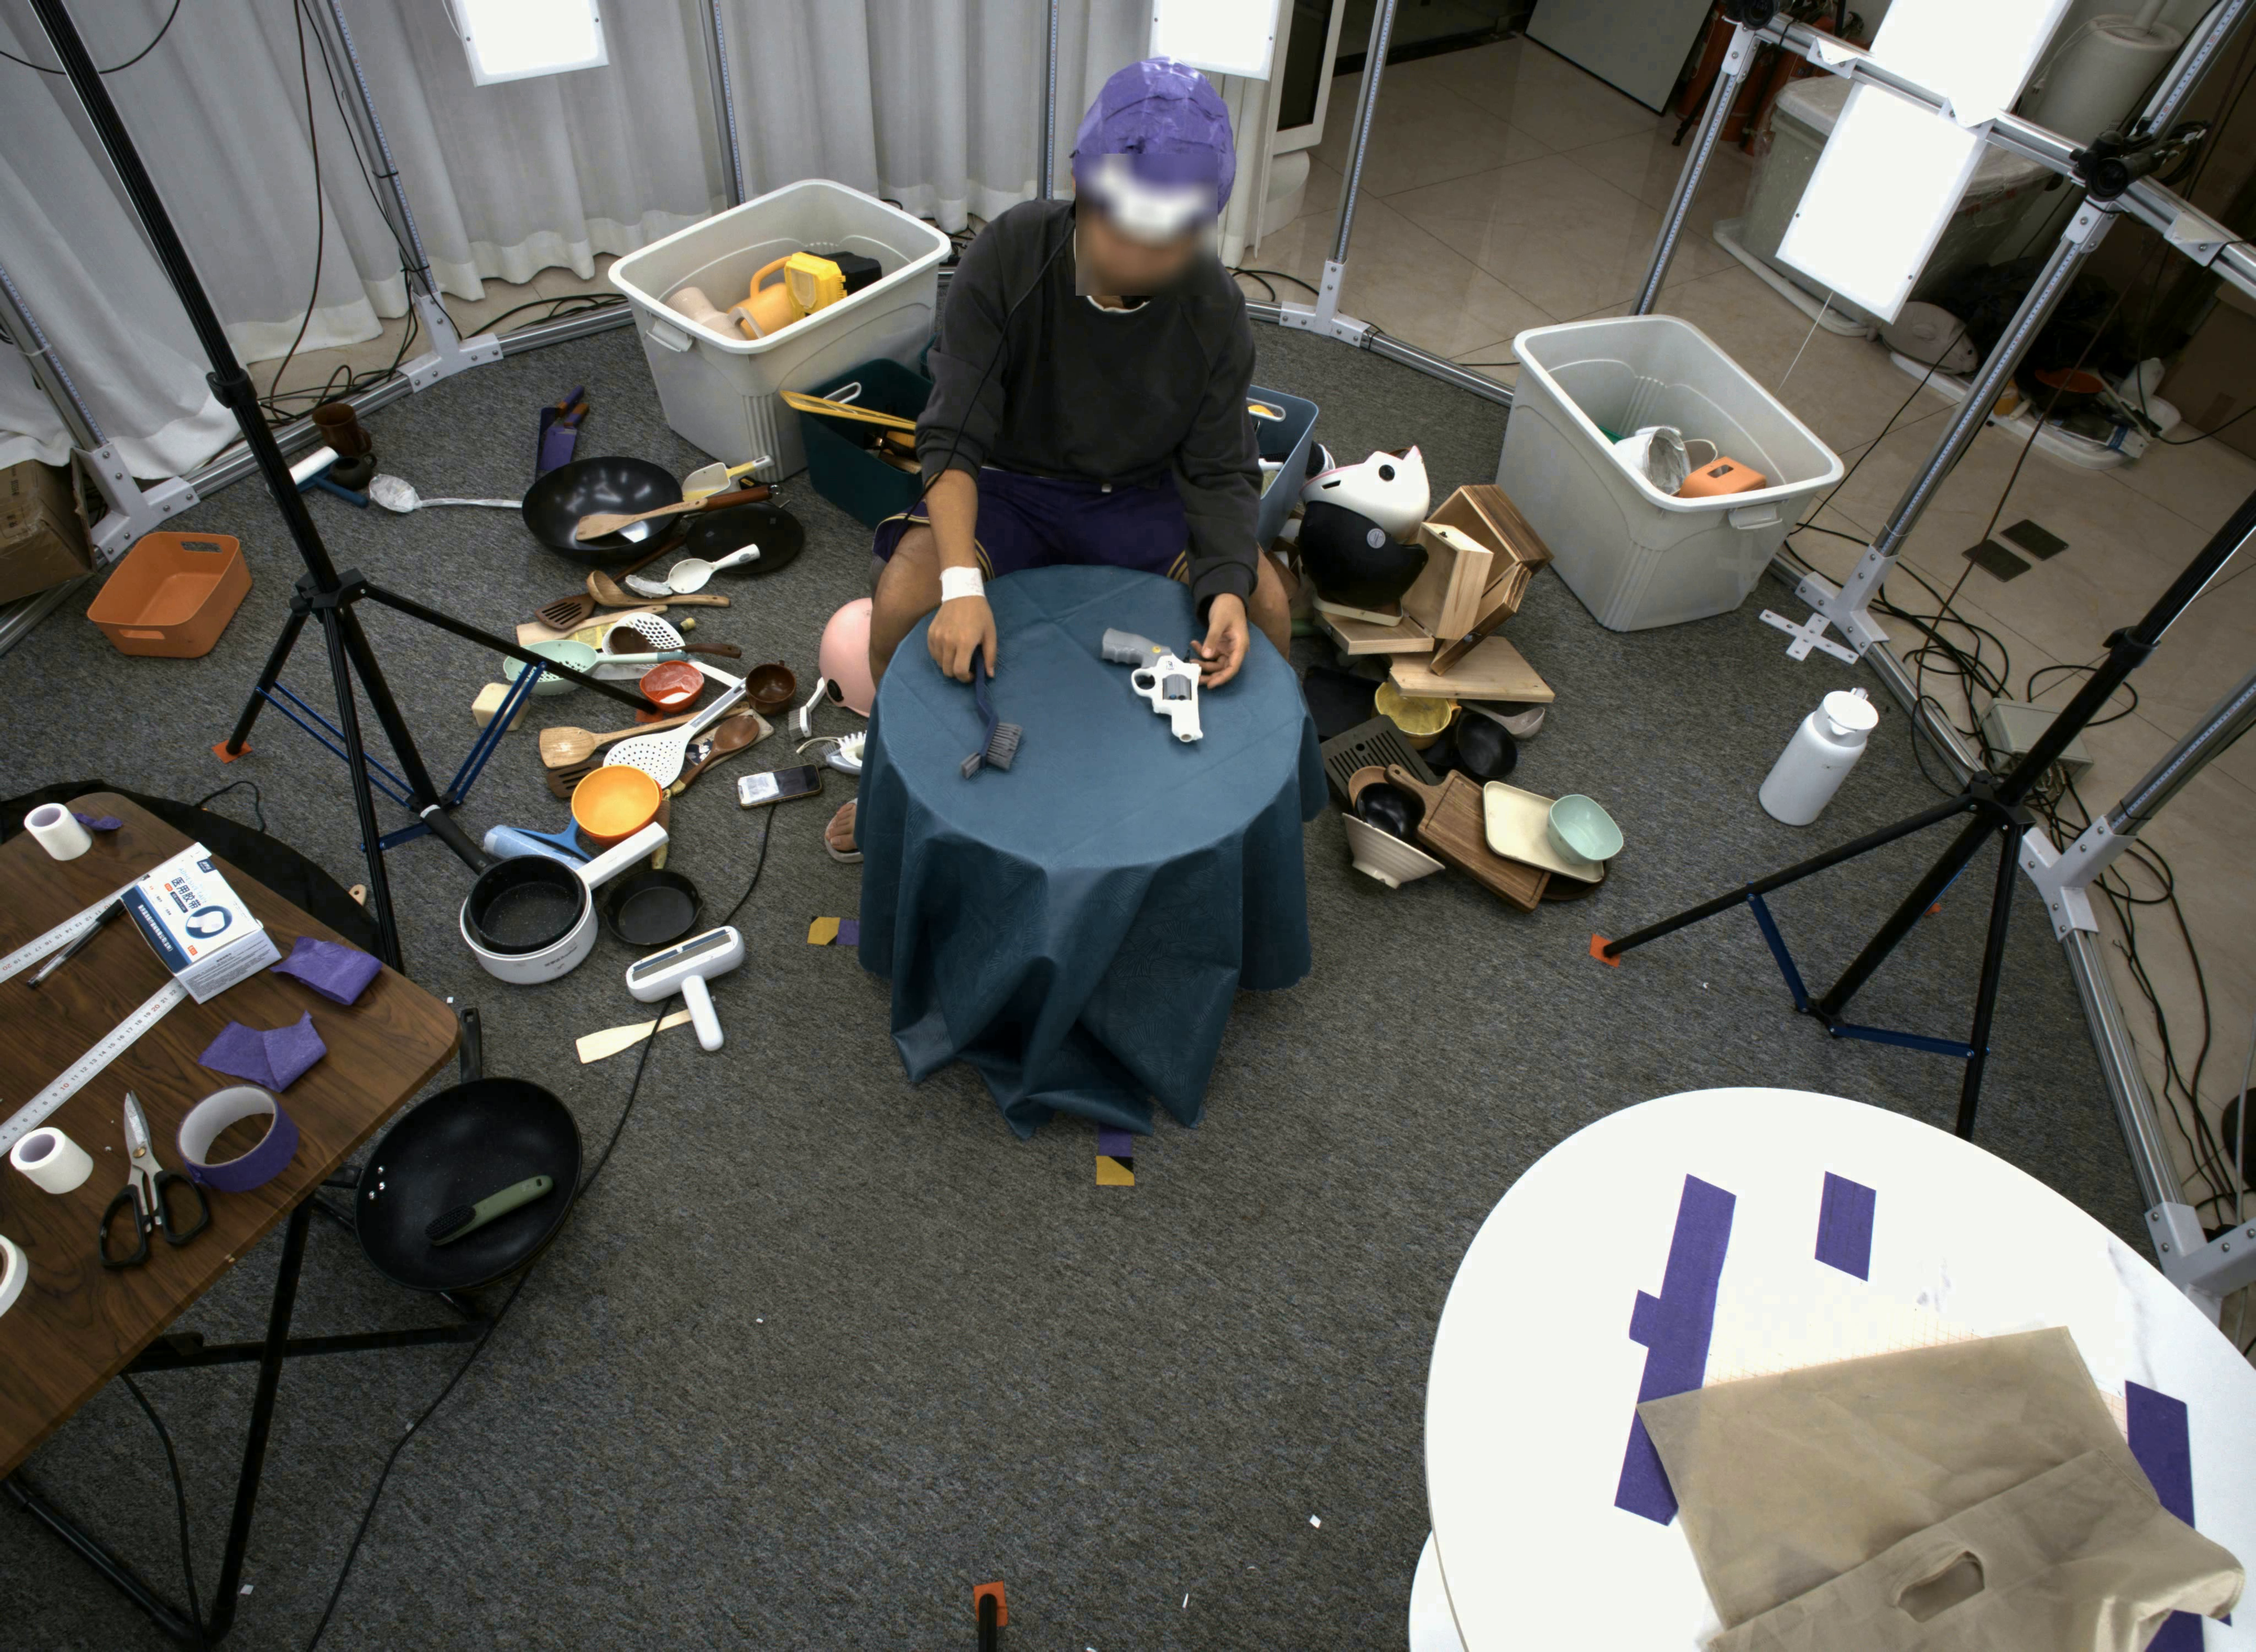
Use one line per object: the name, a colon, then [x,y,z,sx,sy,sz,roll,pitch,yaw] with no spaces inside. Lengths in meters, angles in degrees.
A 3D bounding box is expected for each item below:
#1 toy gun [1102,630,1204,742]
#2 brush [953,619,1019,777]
toy gun: [0.034,-0.202,1.820,0.141,0.038,0.214,1,49,-1]
brush: [-0.211,-0.183,1.790,0.095,0.033,0.280,-7,50,-9]
